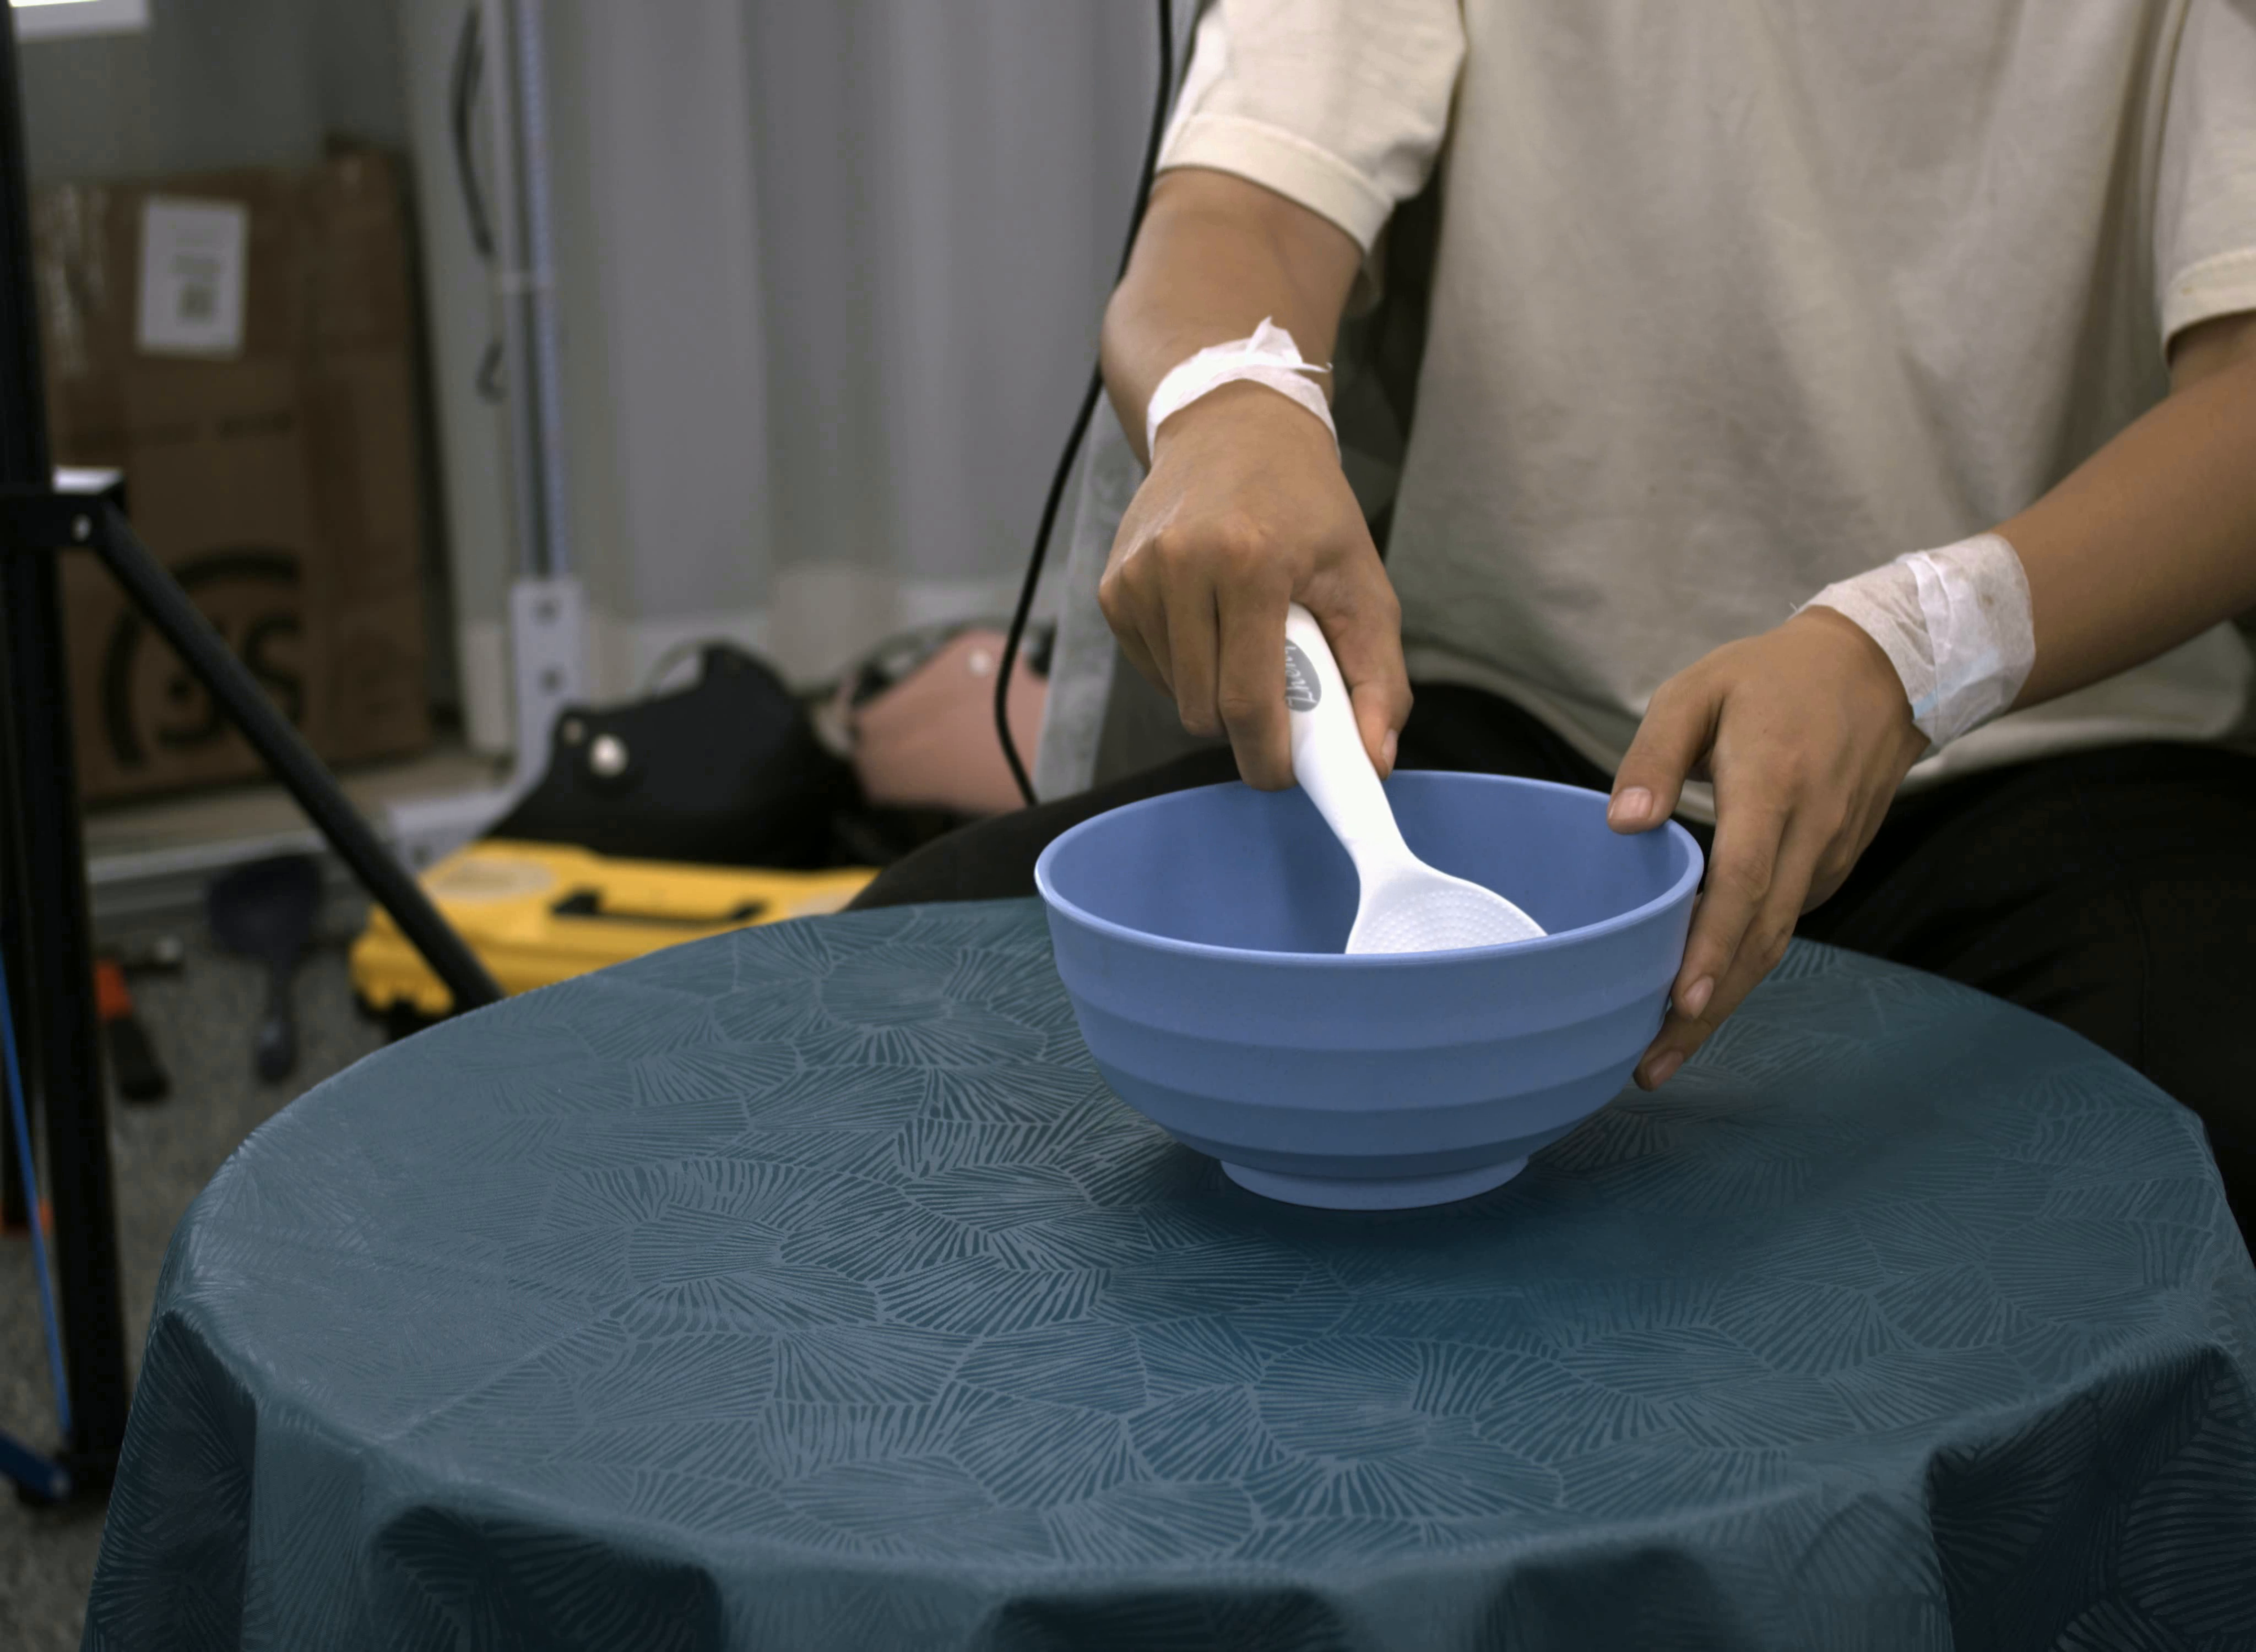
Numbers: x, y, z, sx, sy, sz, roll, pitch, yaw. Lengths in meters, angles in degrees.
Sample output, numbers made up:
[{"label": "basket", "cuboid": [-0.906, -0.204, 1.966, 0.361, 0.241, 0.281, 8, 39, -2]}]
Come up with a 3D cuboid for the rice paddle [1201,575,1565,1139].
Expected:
[{"label": "rice paddle", "cuboid": [0.078, 0.010, 1.595, 0.068, 0.029, 0.209, -27, 58, -2]}]

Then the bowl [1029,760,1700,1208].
[{"label": "bowl", "cuboid": [0.071, 0.052, 1.562, 0.195, 0.095, 0.197, -4, 17, 0]}]
